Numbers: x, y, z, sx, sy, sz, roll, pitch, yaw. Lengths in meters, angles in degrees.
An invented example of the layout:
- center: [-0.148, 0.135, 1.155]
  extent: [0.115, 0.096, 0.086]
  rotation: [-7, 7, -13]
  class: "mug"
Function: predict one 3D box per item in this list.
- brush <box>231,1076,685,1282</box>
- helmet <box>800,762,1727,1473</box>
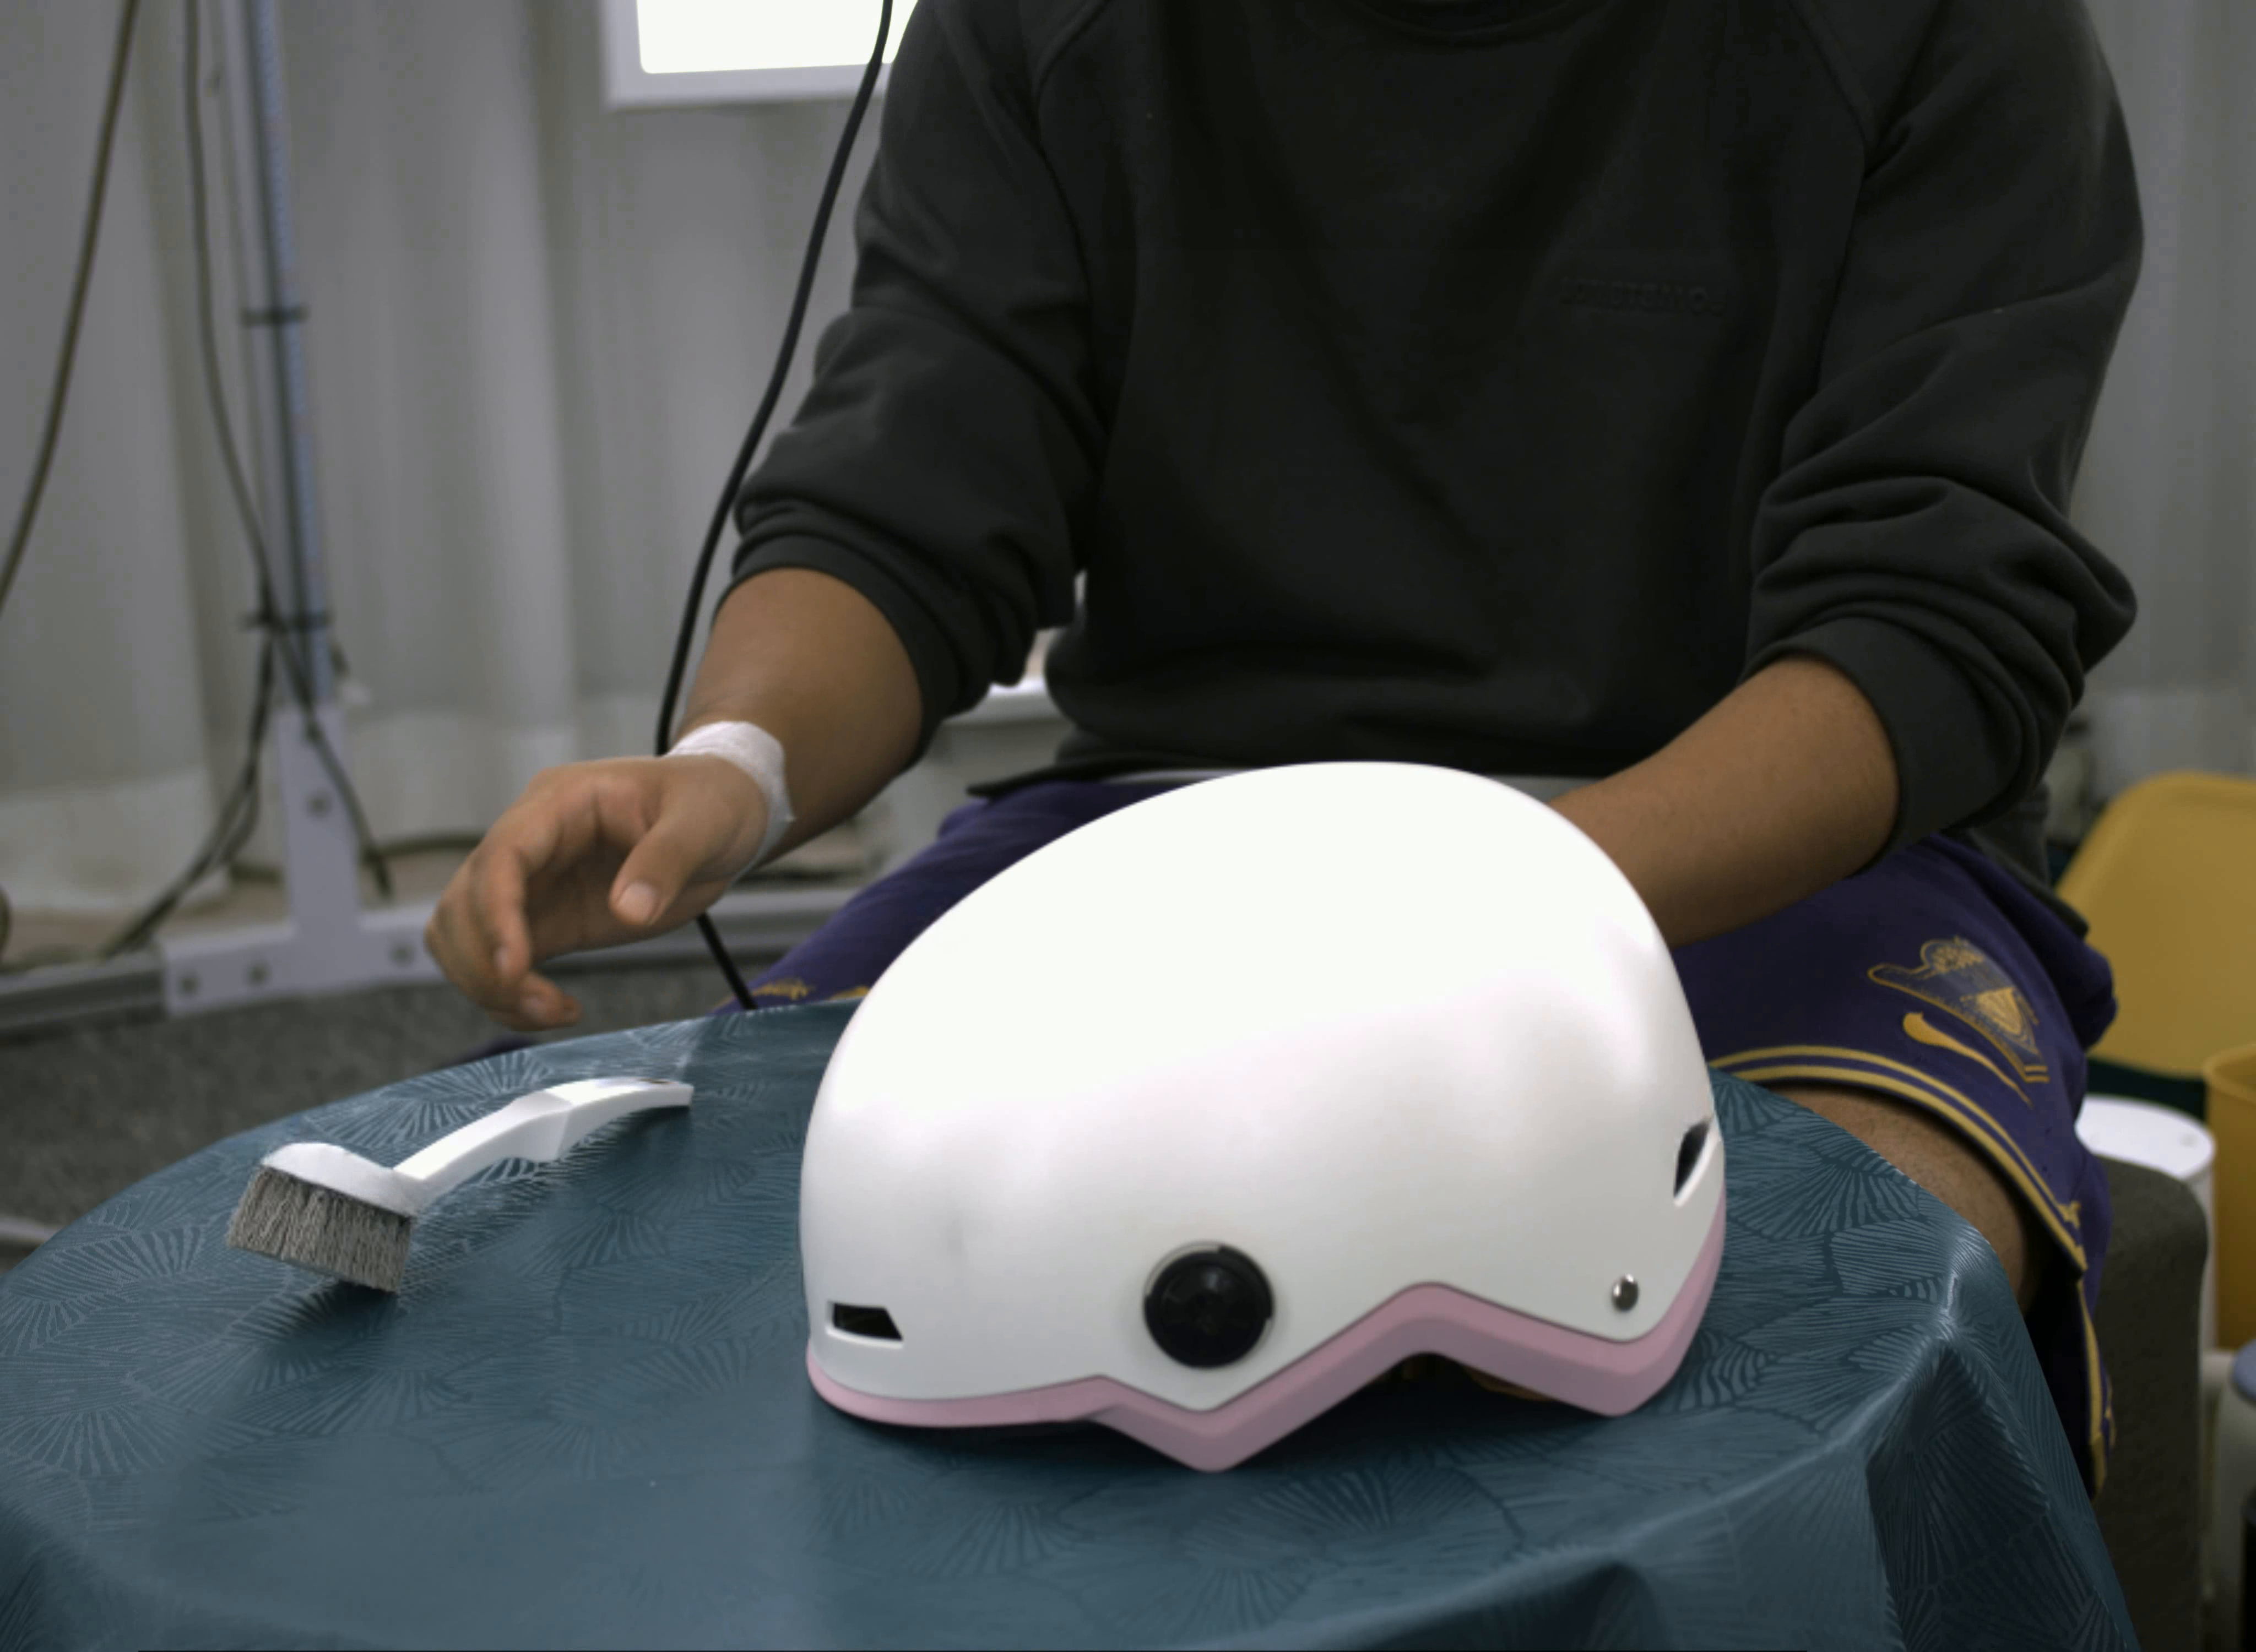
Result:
- center: [-0.205, 0.111, 1.723]
  extent: [0.034, 0.050, 0.243]
  rotation: [7, 5, 23]
  class: "brush"
- center: [0.035, 0.069, 1.564]
  extent: [0.268, 0.166, 0.239]
  rotation: [-4, 15, -2]
  class: "helmet"
